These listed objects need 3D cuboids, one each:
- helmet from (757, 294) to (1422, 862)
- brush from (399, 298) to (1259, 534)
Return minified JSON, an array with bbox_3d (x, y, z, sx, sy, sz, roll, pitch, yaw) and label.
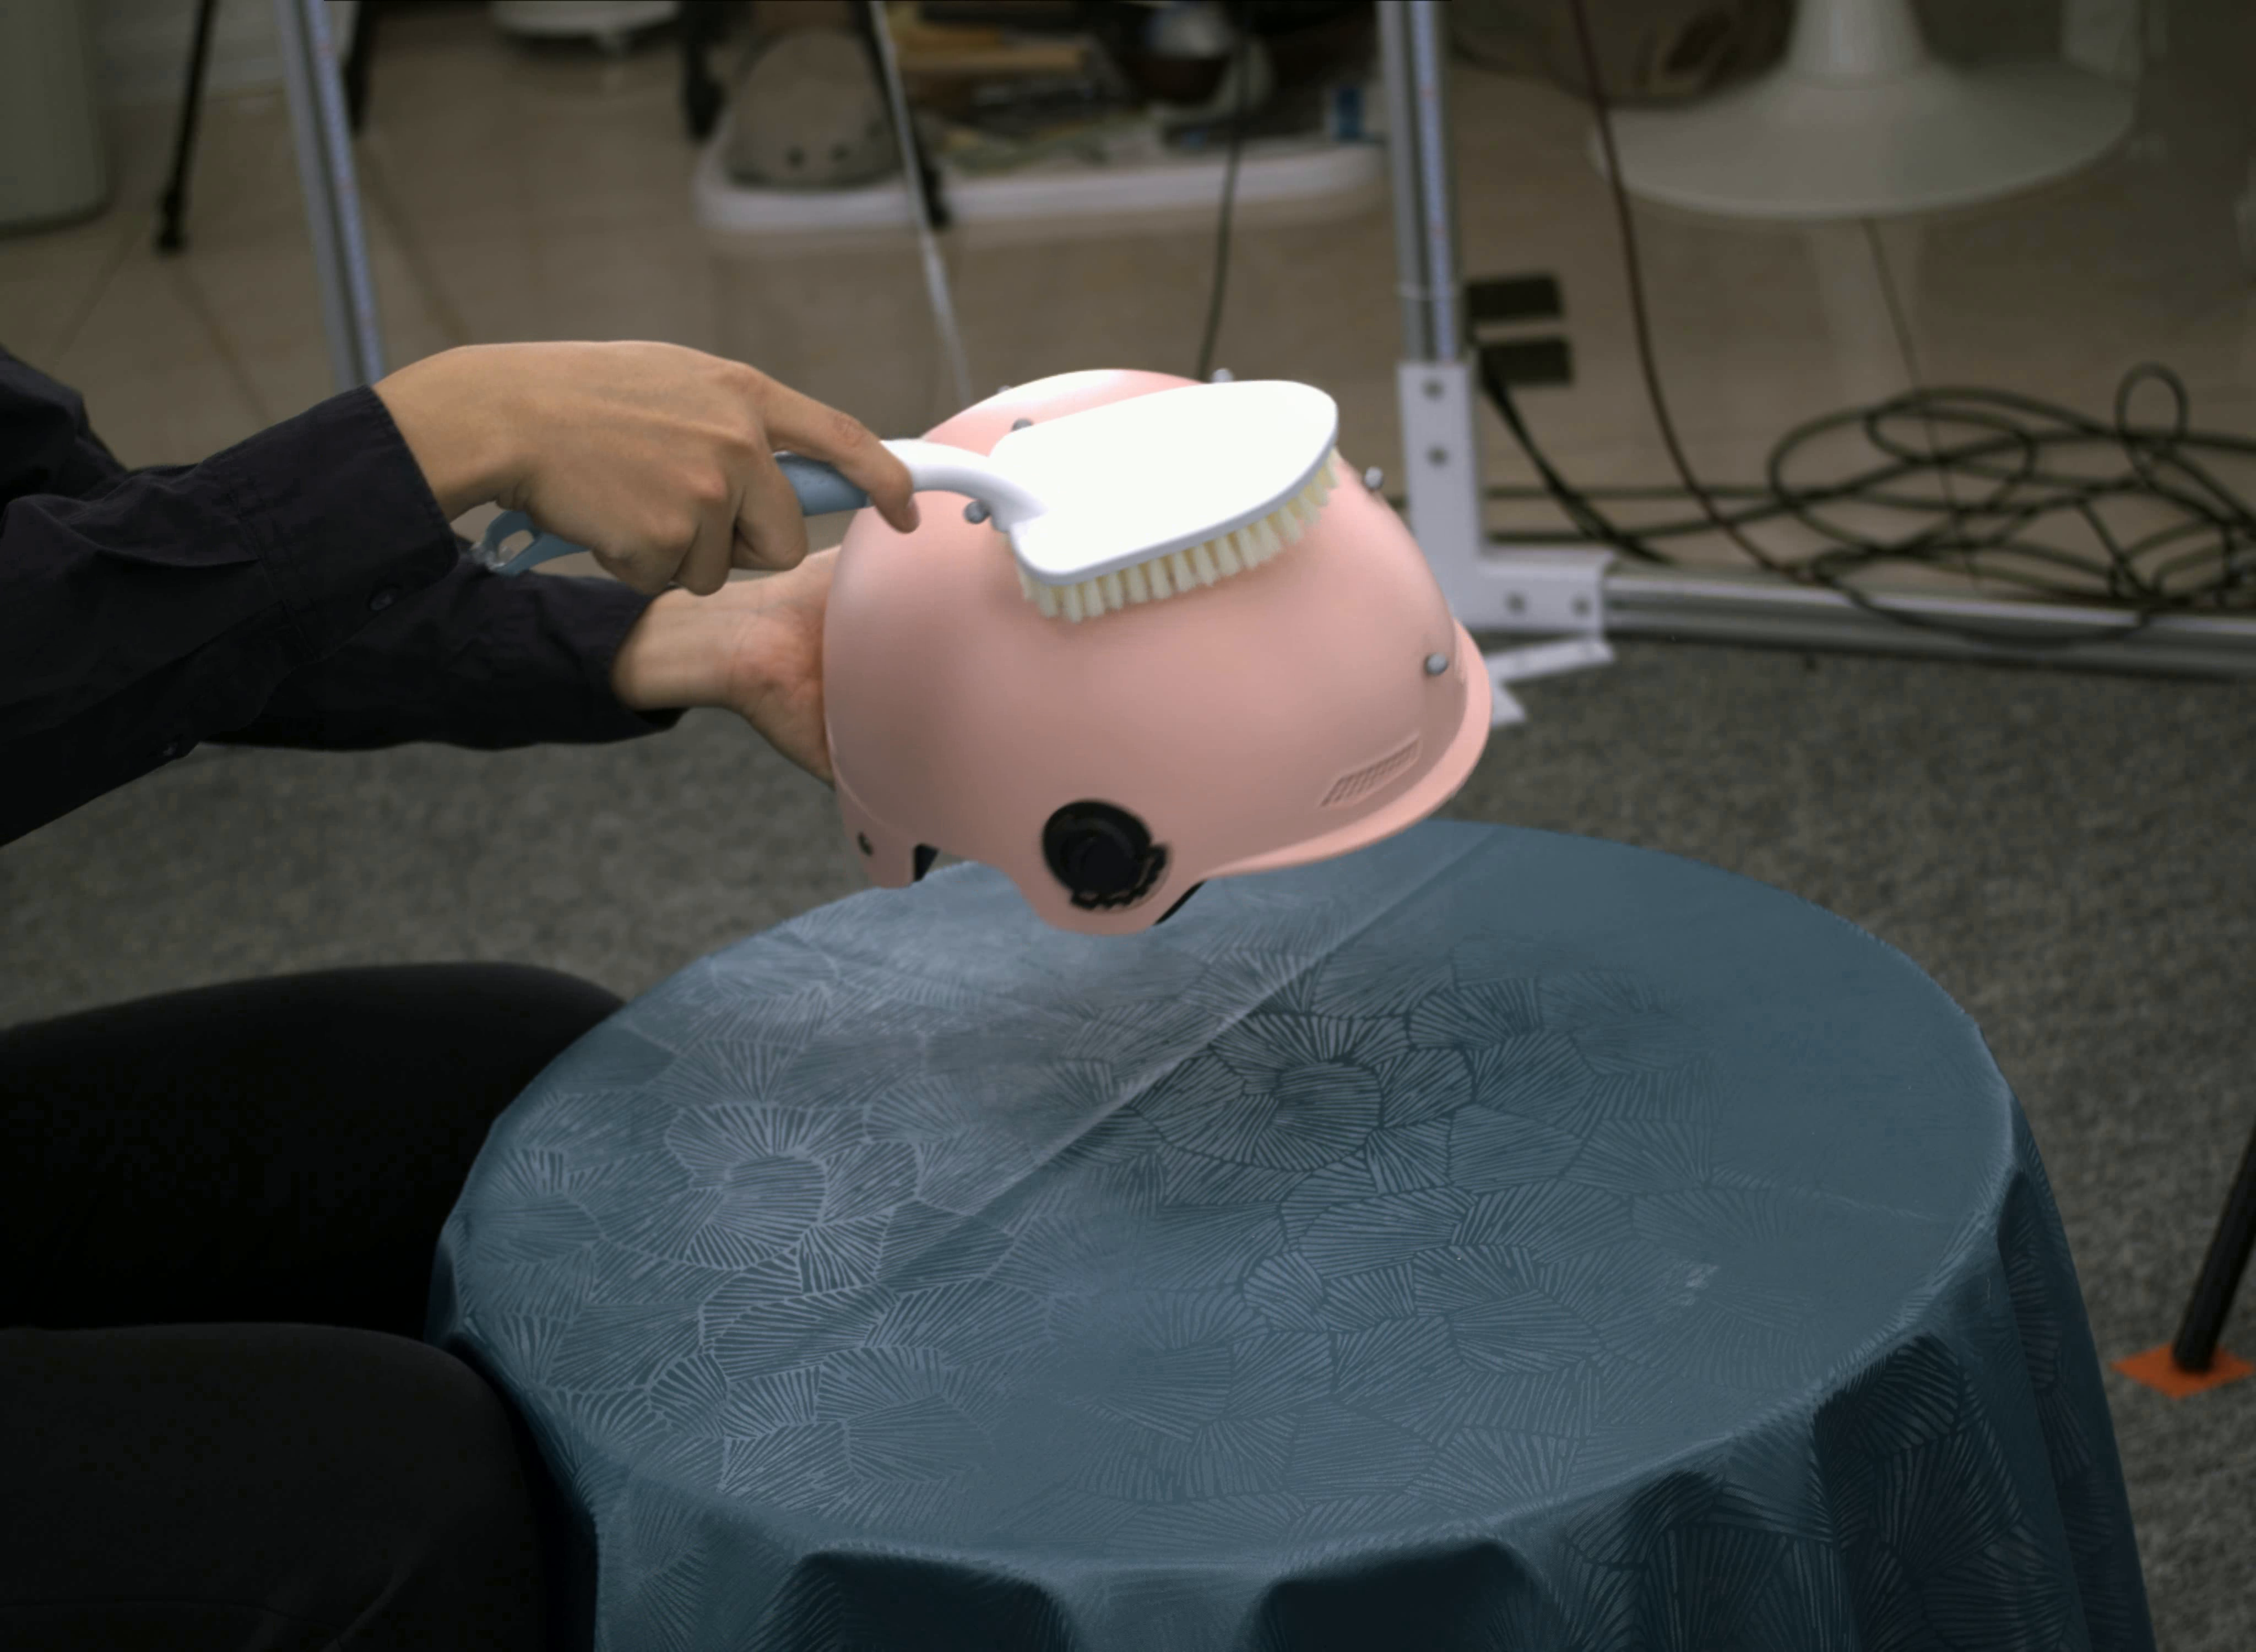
[{"bbox_3d":[-0.025,-0.115,2.187,0.265,0.162,0.230,8,42,24],"label":"helmet"},{"bbox_3d":[-0.108,-0.142,2.064,0.324,0.086,0.082,-10,21,-16],"label":"brush"}]
